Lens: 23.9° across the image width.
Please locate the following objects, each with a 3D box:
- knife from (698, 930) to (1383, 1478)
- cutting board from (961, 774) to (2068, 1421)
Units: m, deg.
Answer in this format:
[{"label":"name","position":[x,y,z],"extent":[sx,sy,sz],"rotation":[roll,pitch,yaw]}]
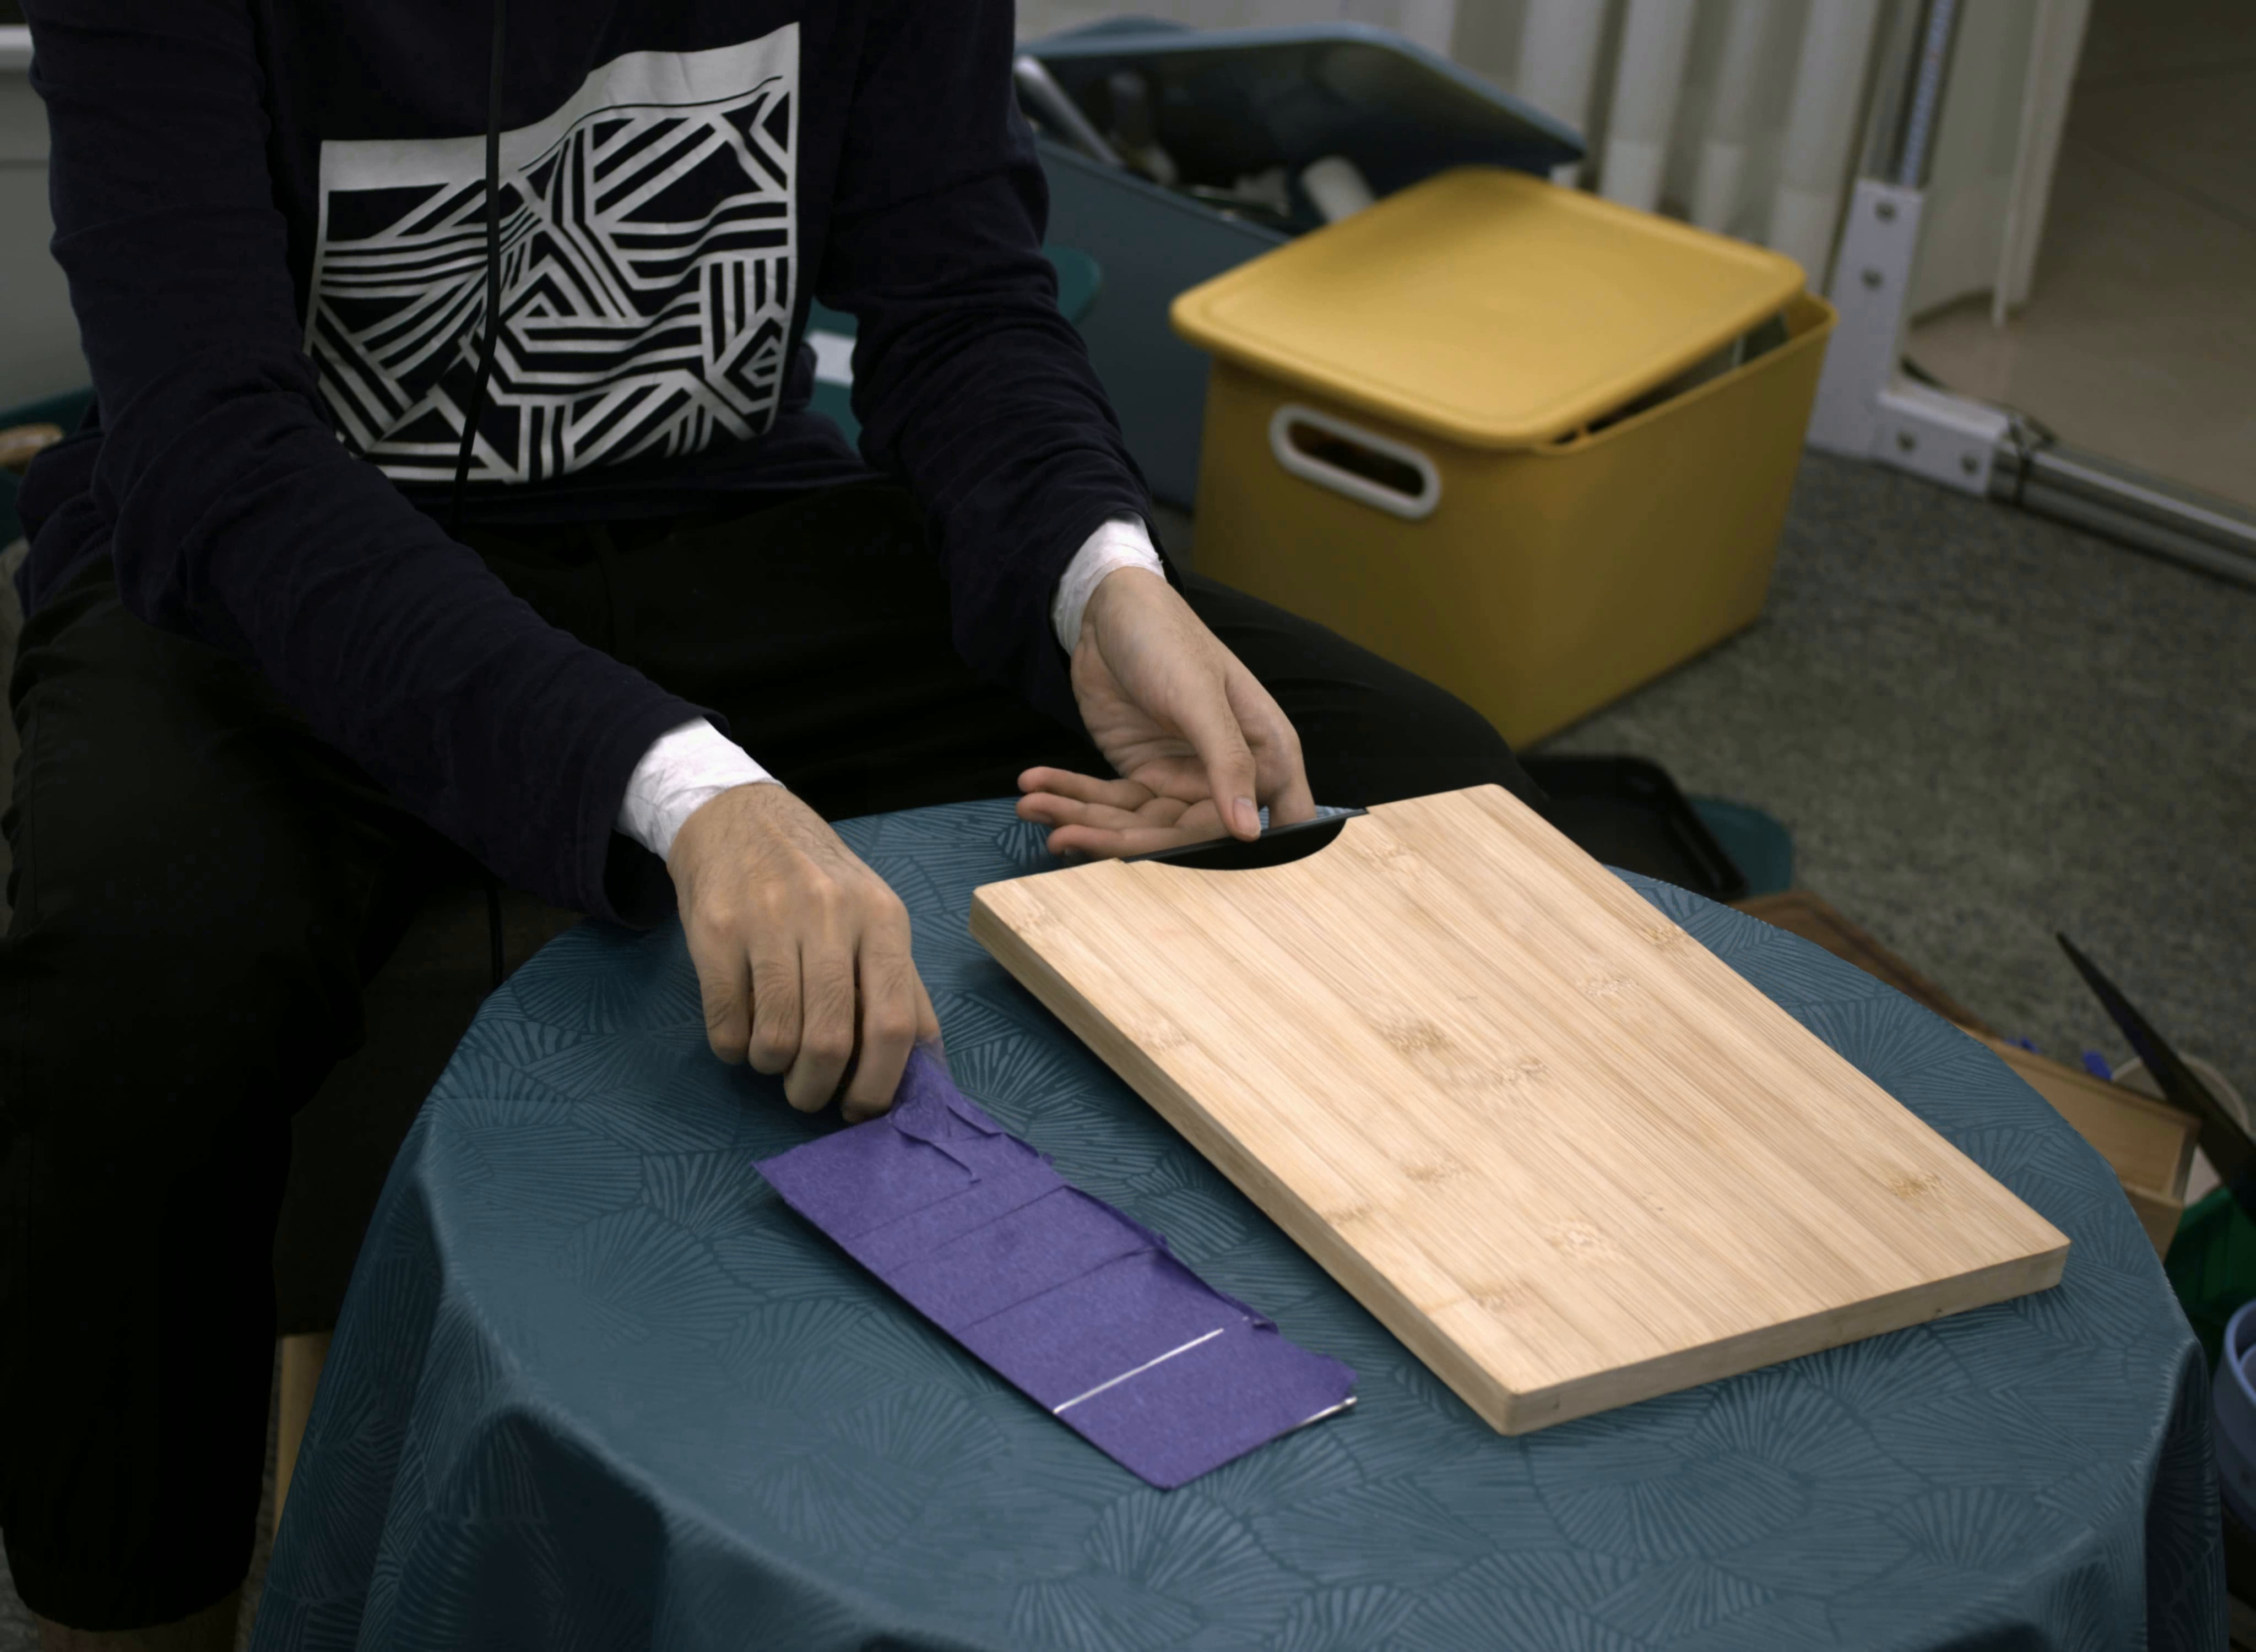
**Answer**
[{"label":"knife","position":[-0.058,0.121,1.764],"extent":[0.103,0.032,0.318],"rotation":[-18,37,-39]},{"label":"cutting board","position":[0.129,0.087,1.874],"extent":[0.249,0.023,0.352],"rotation":[-11,34,-31]}]
